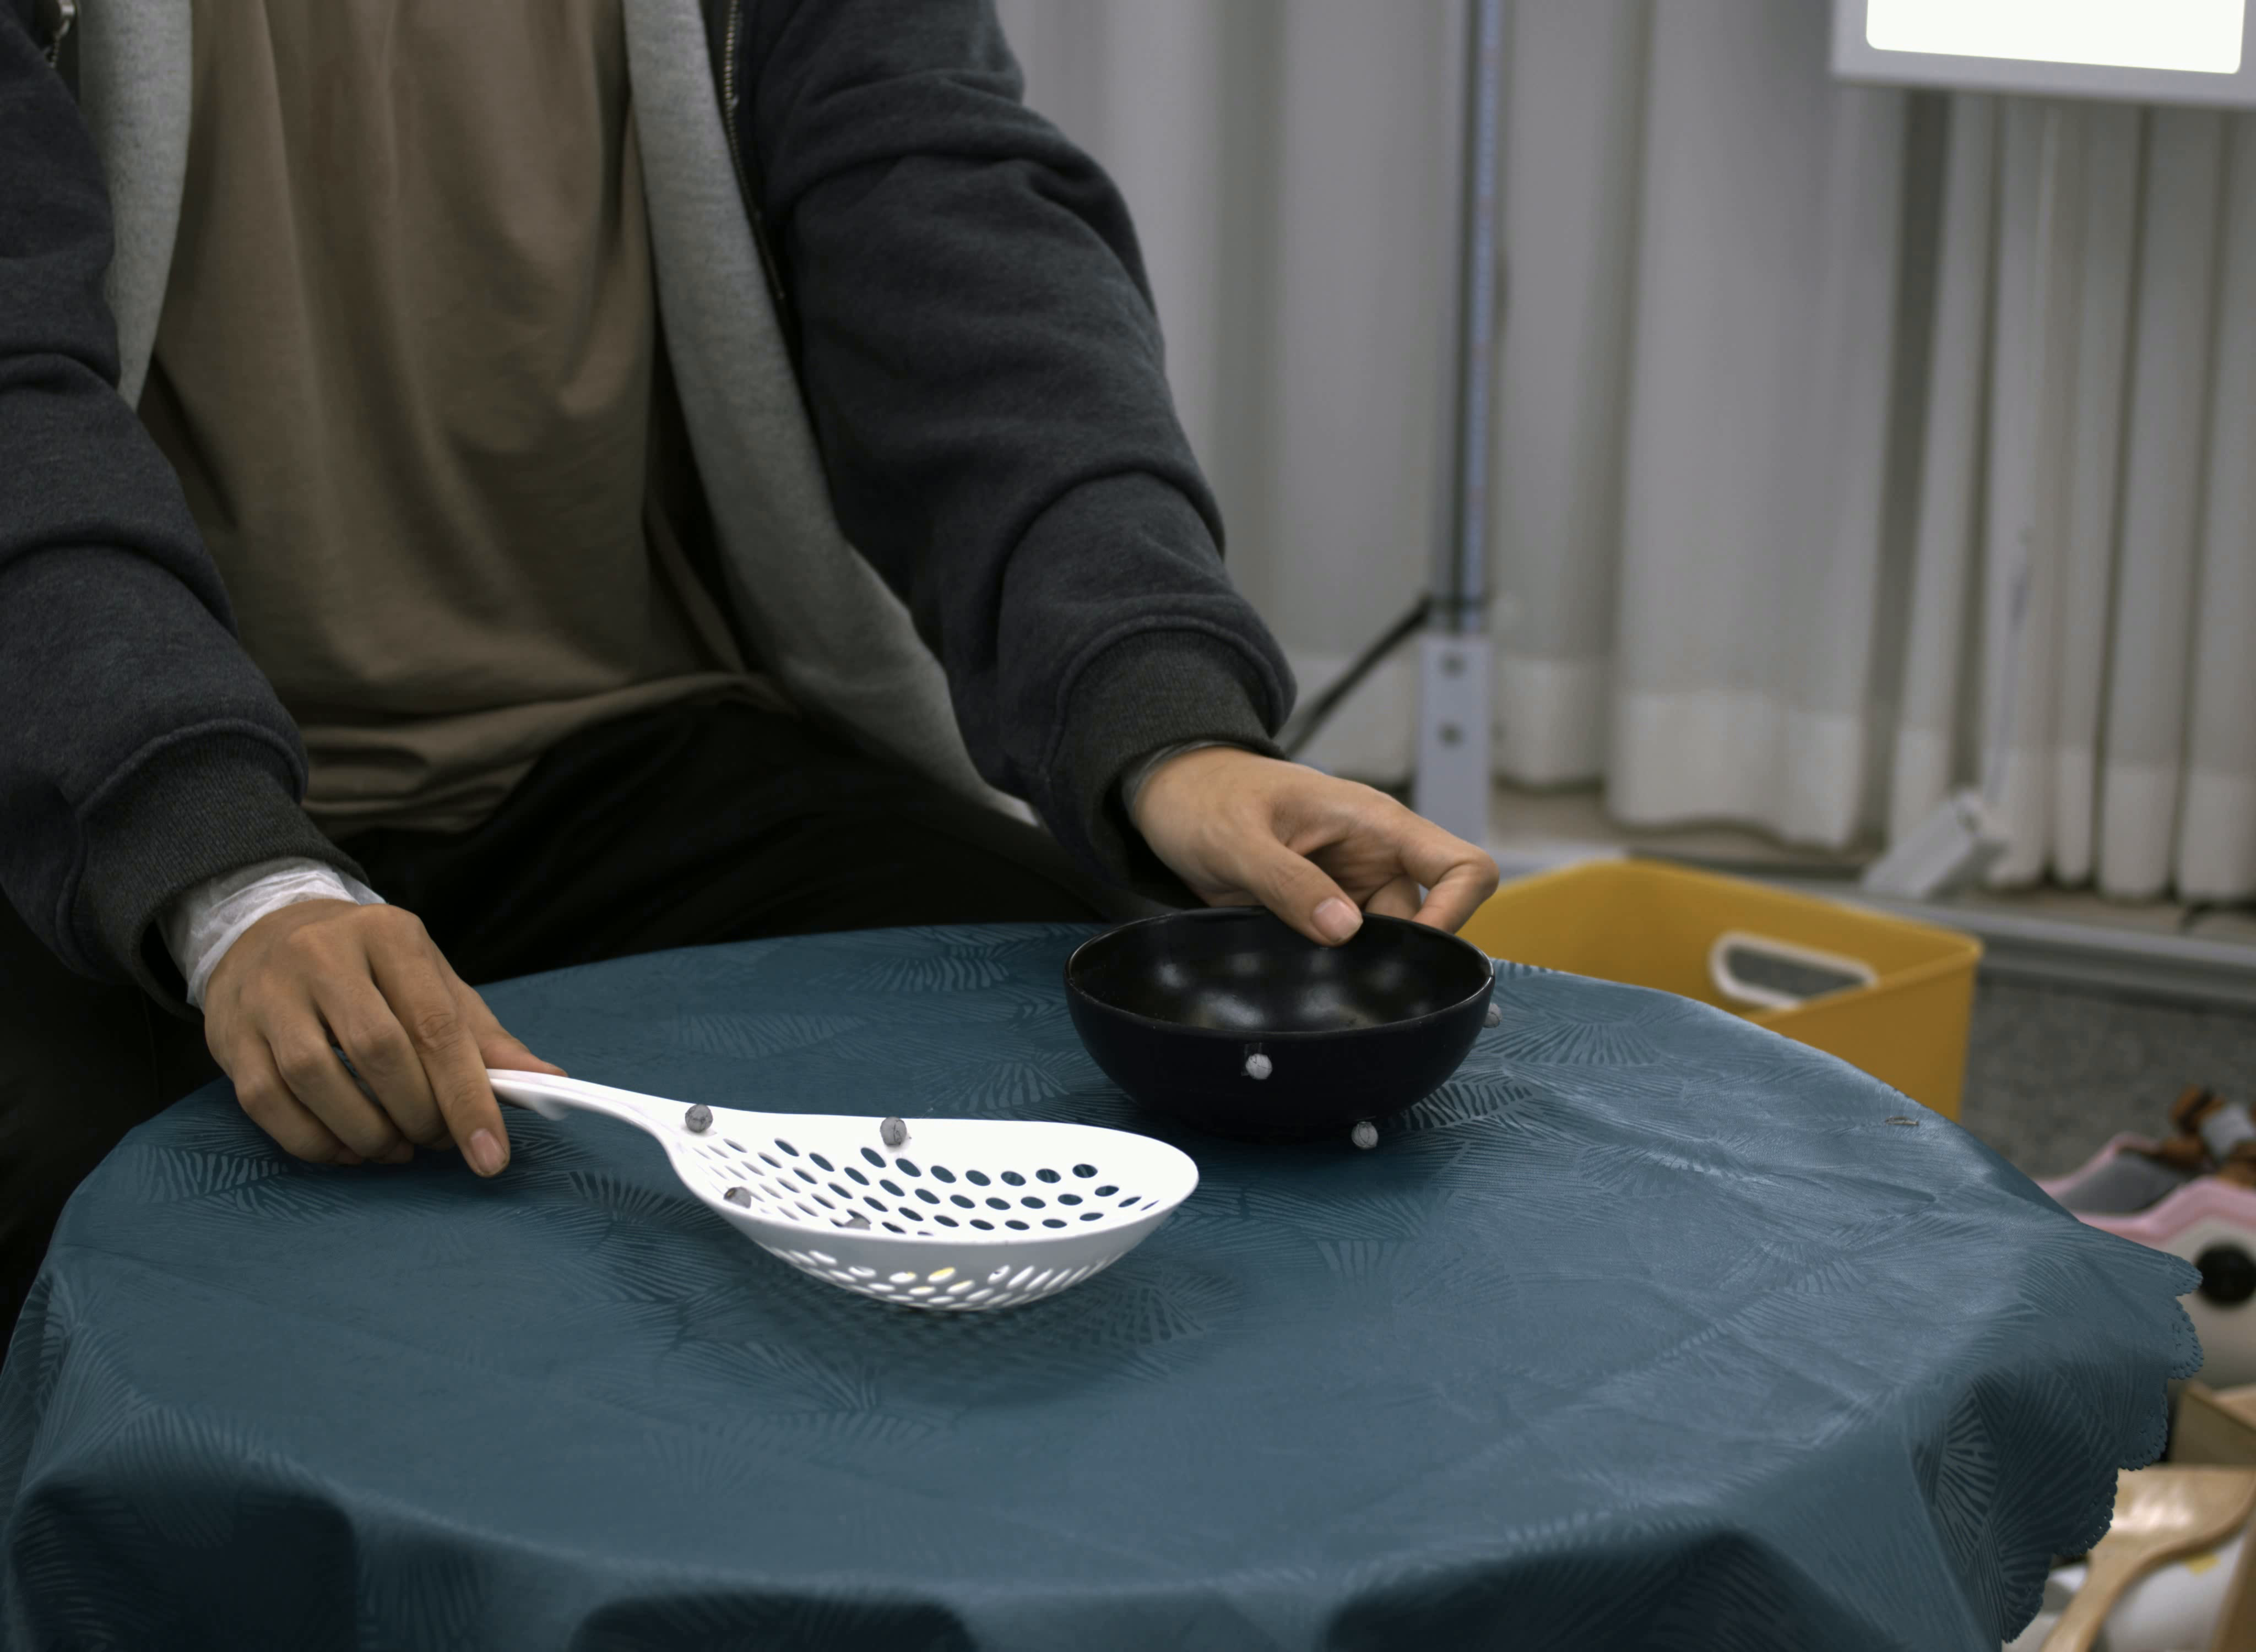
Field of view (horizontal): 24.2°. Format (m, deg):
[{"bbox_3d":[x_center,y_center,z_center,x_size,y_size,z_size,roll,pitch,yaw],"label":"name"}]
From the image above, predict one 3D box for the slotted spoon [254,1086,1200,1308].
[{"bbox_3d":[-0.134,0.100,1.589,0.343,0.051,0.137,11,19,35],"label":"slotted spoon"}]
